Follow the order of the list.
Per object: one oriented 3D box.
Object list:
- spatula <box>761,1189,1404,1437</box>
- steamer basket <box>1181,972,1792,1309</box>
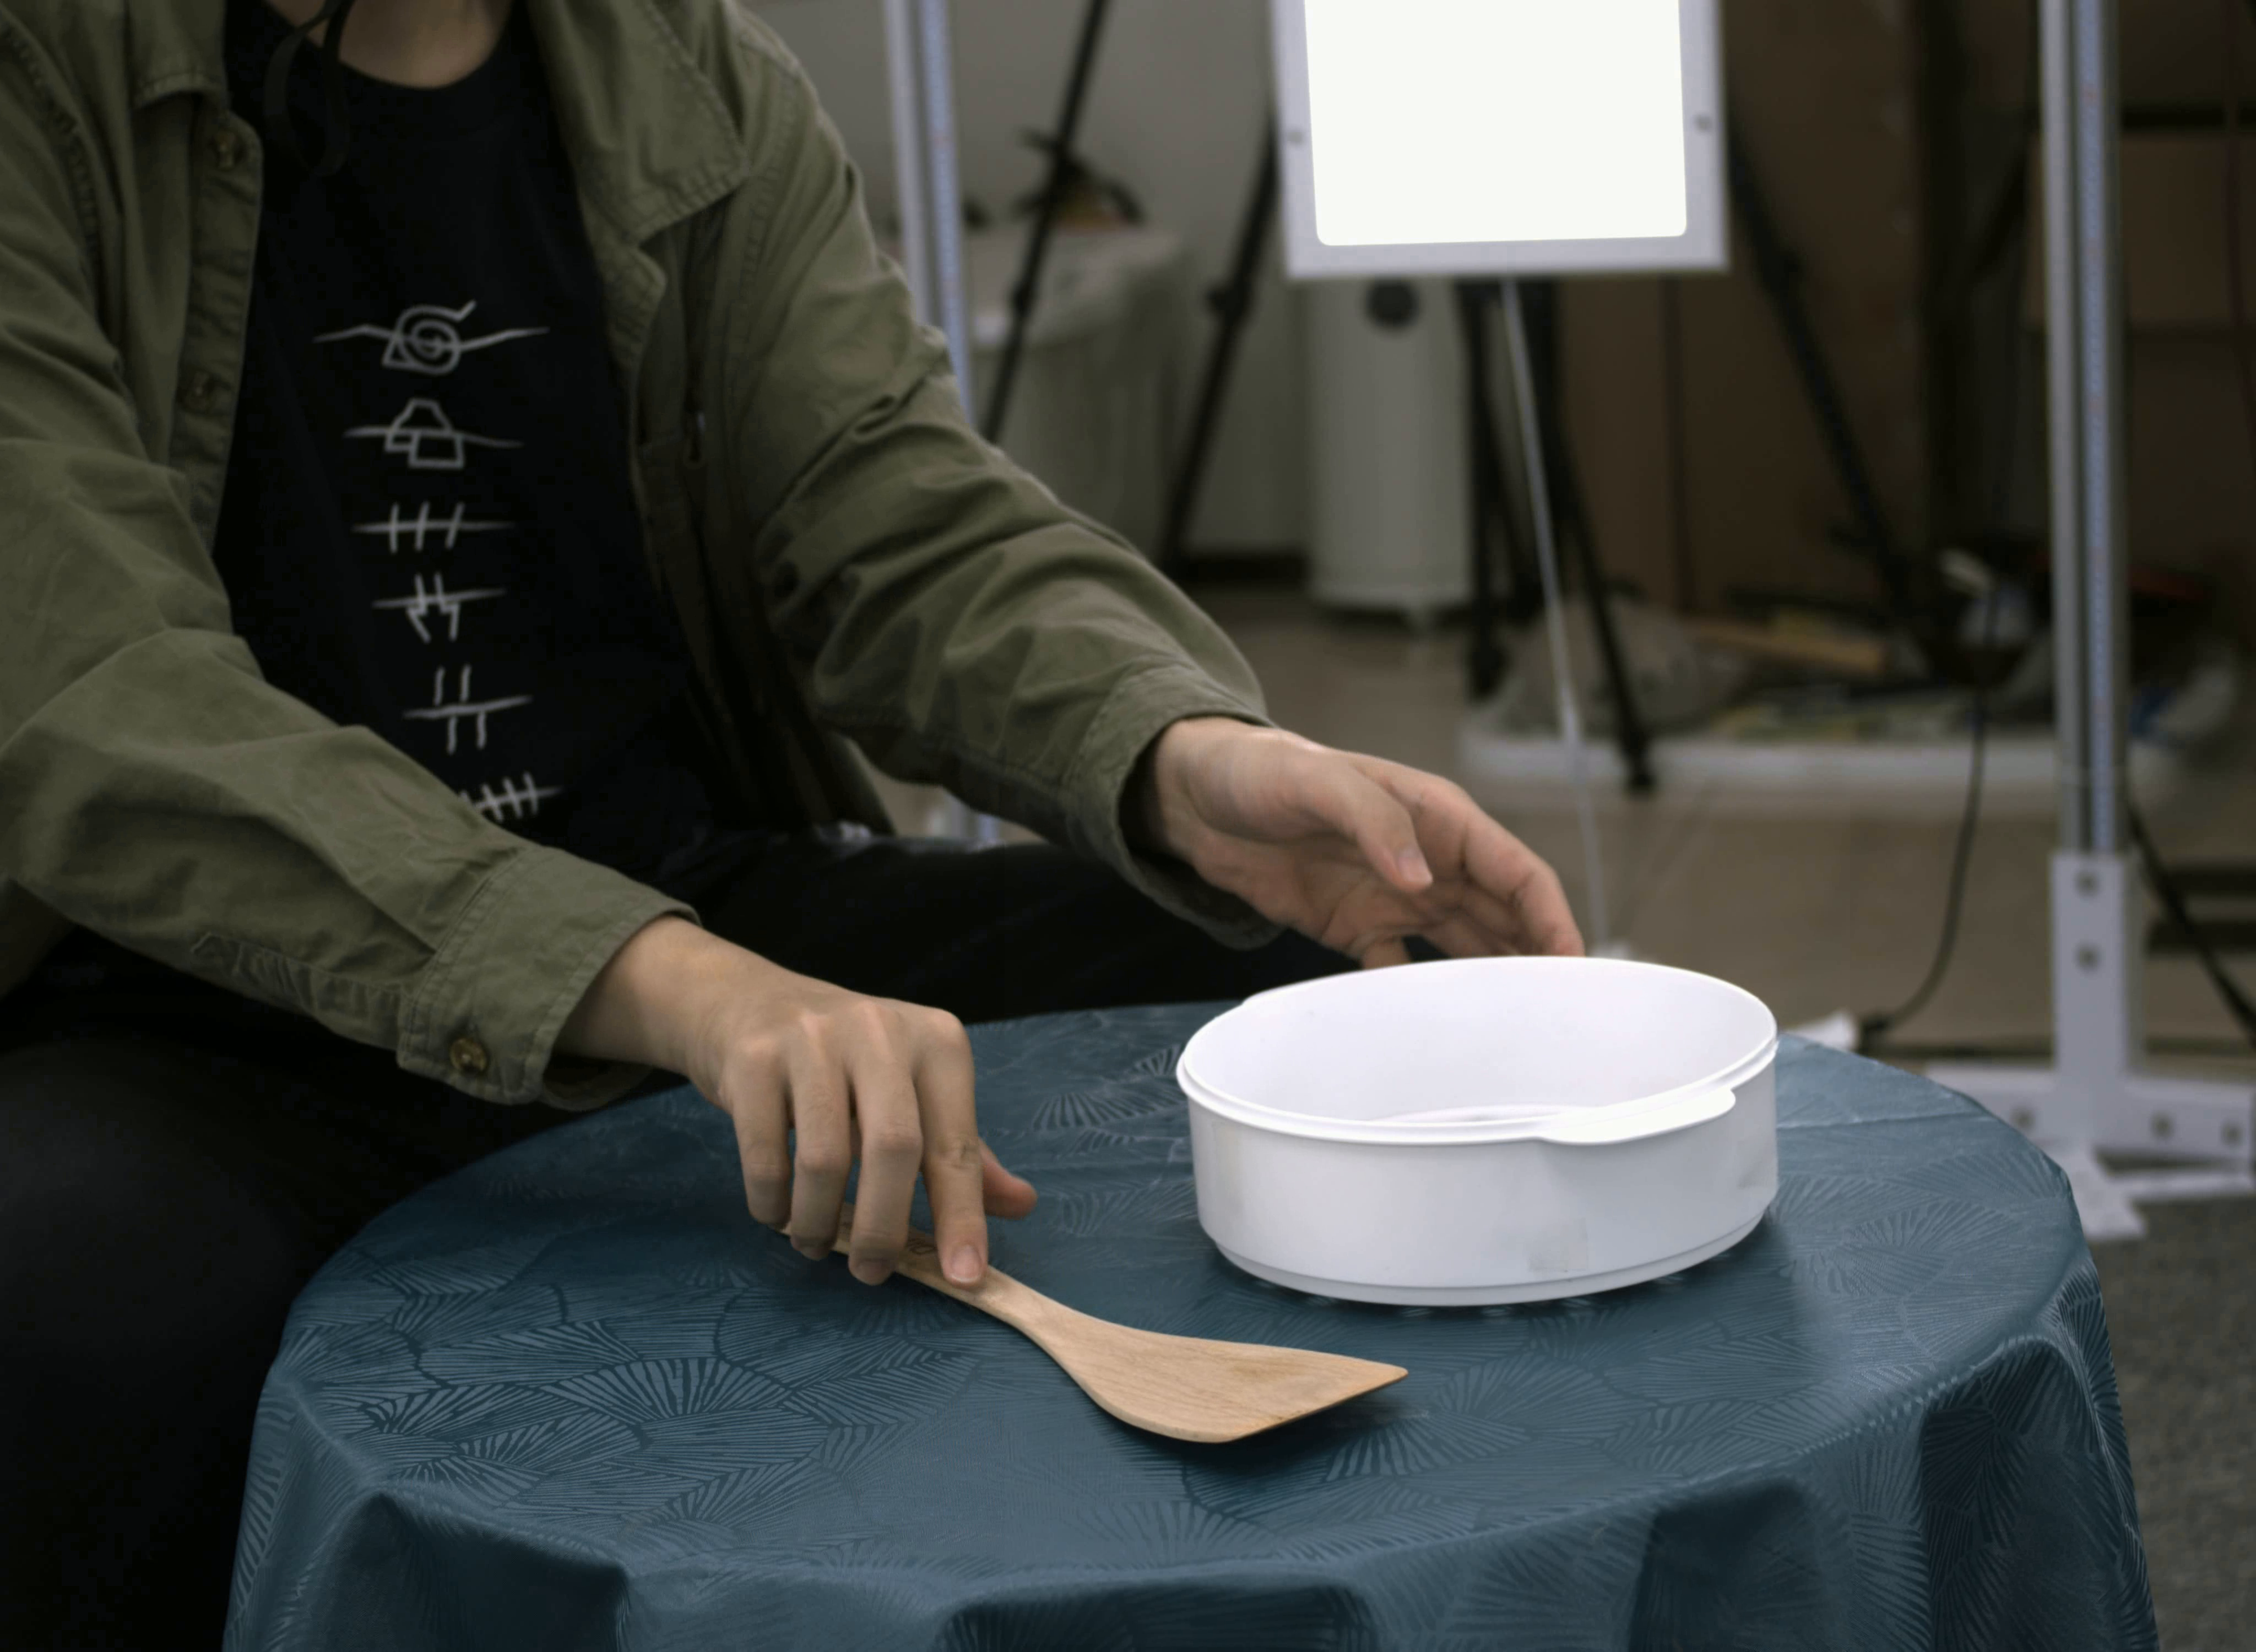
[{"bbox_3d":[-0.029,0.151,1.769,0.078,0.016,0.334,-13,16,-31],"label":"spatula"},{"bbox_3d":[0.120,0.103,1.809,0.198,0.069,0.234,-11,13,-25],"label":"steamer basket"}]
